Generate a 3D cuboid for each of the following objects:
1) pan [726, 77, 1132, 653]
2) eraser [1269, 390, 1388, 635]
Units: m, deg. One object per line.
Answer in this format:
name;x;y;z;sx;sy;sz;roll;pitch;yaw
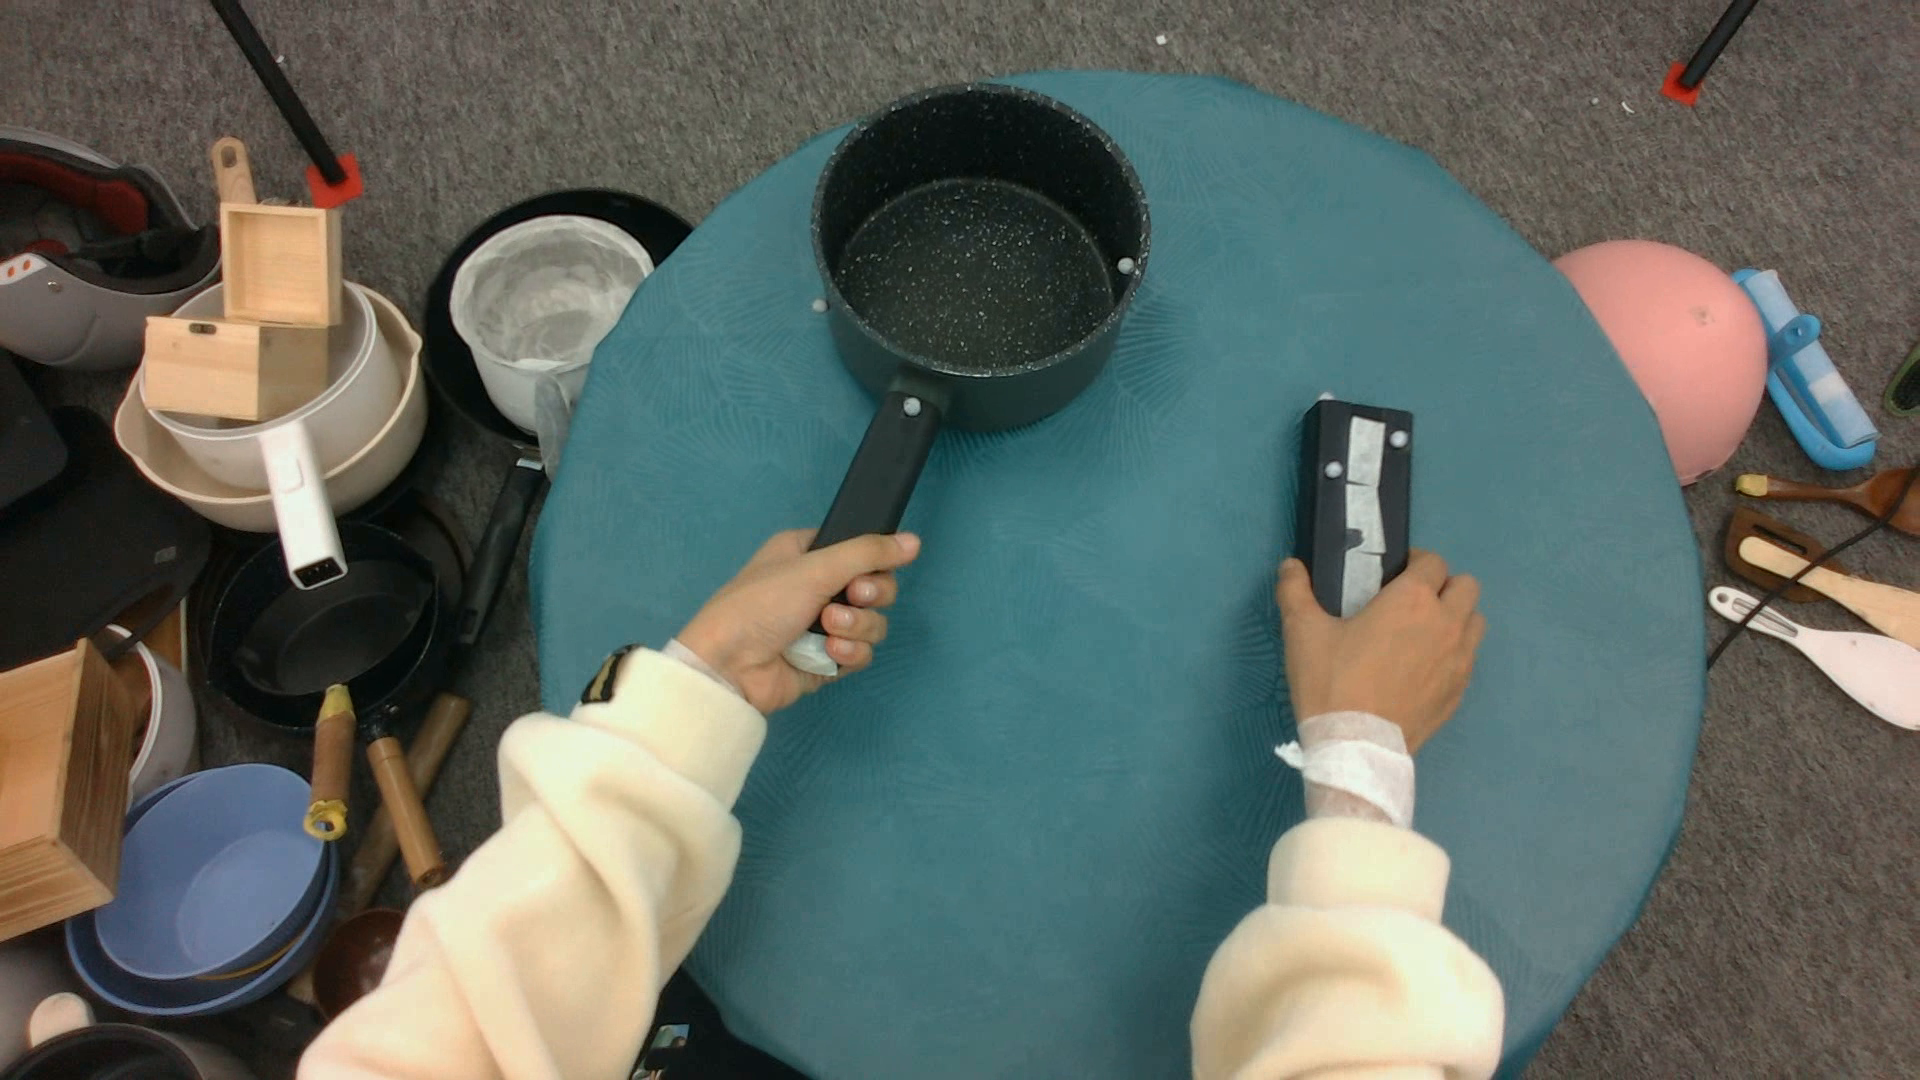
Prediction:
pan;-0.029;-0.082;0.689;0.172;0.086;0.330;21;66;5
eraser;0.189;-0.015;0.708;0.053;0.030;0.126;9;69;-3
